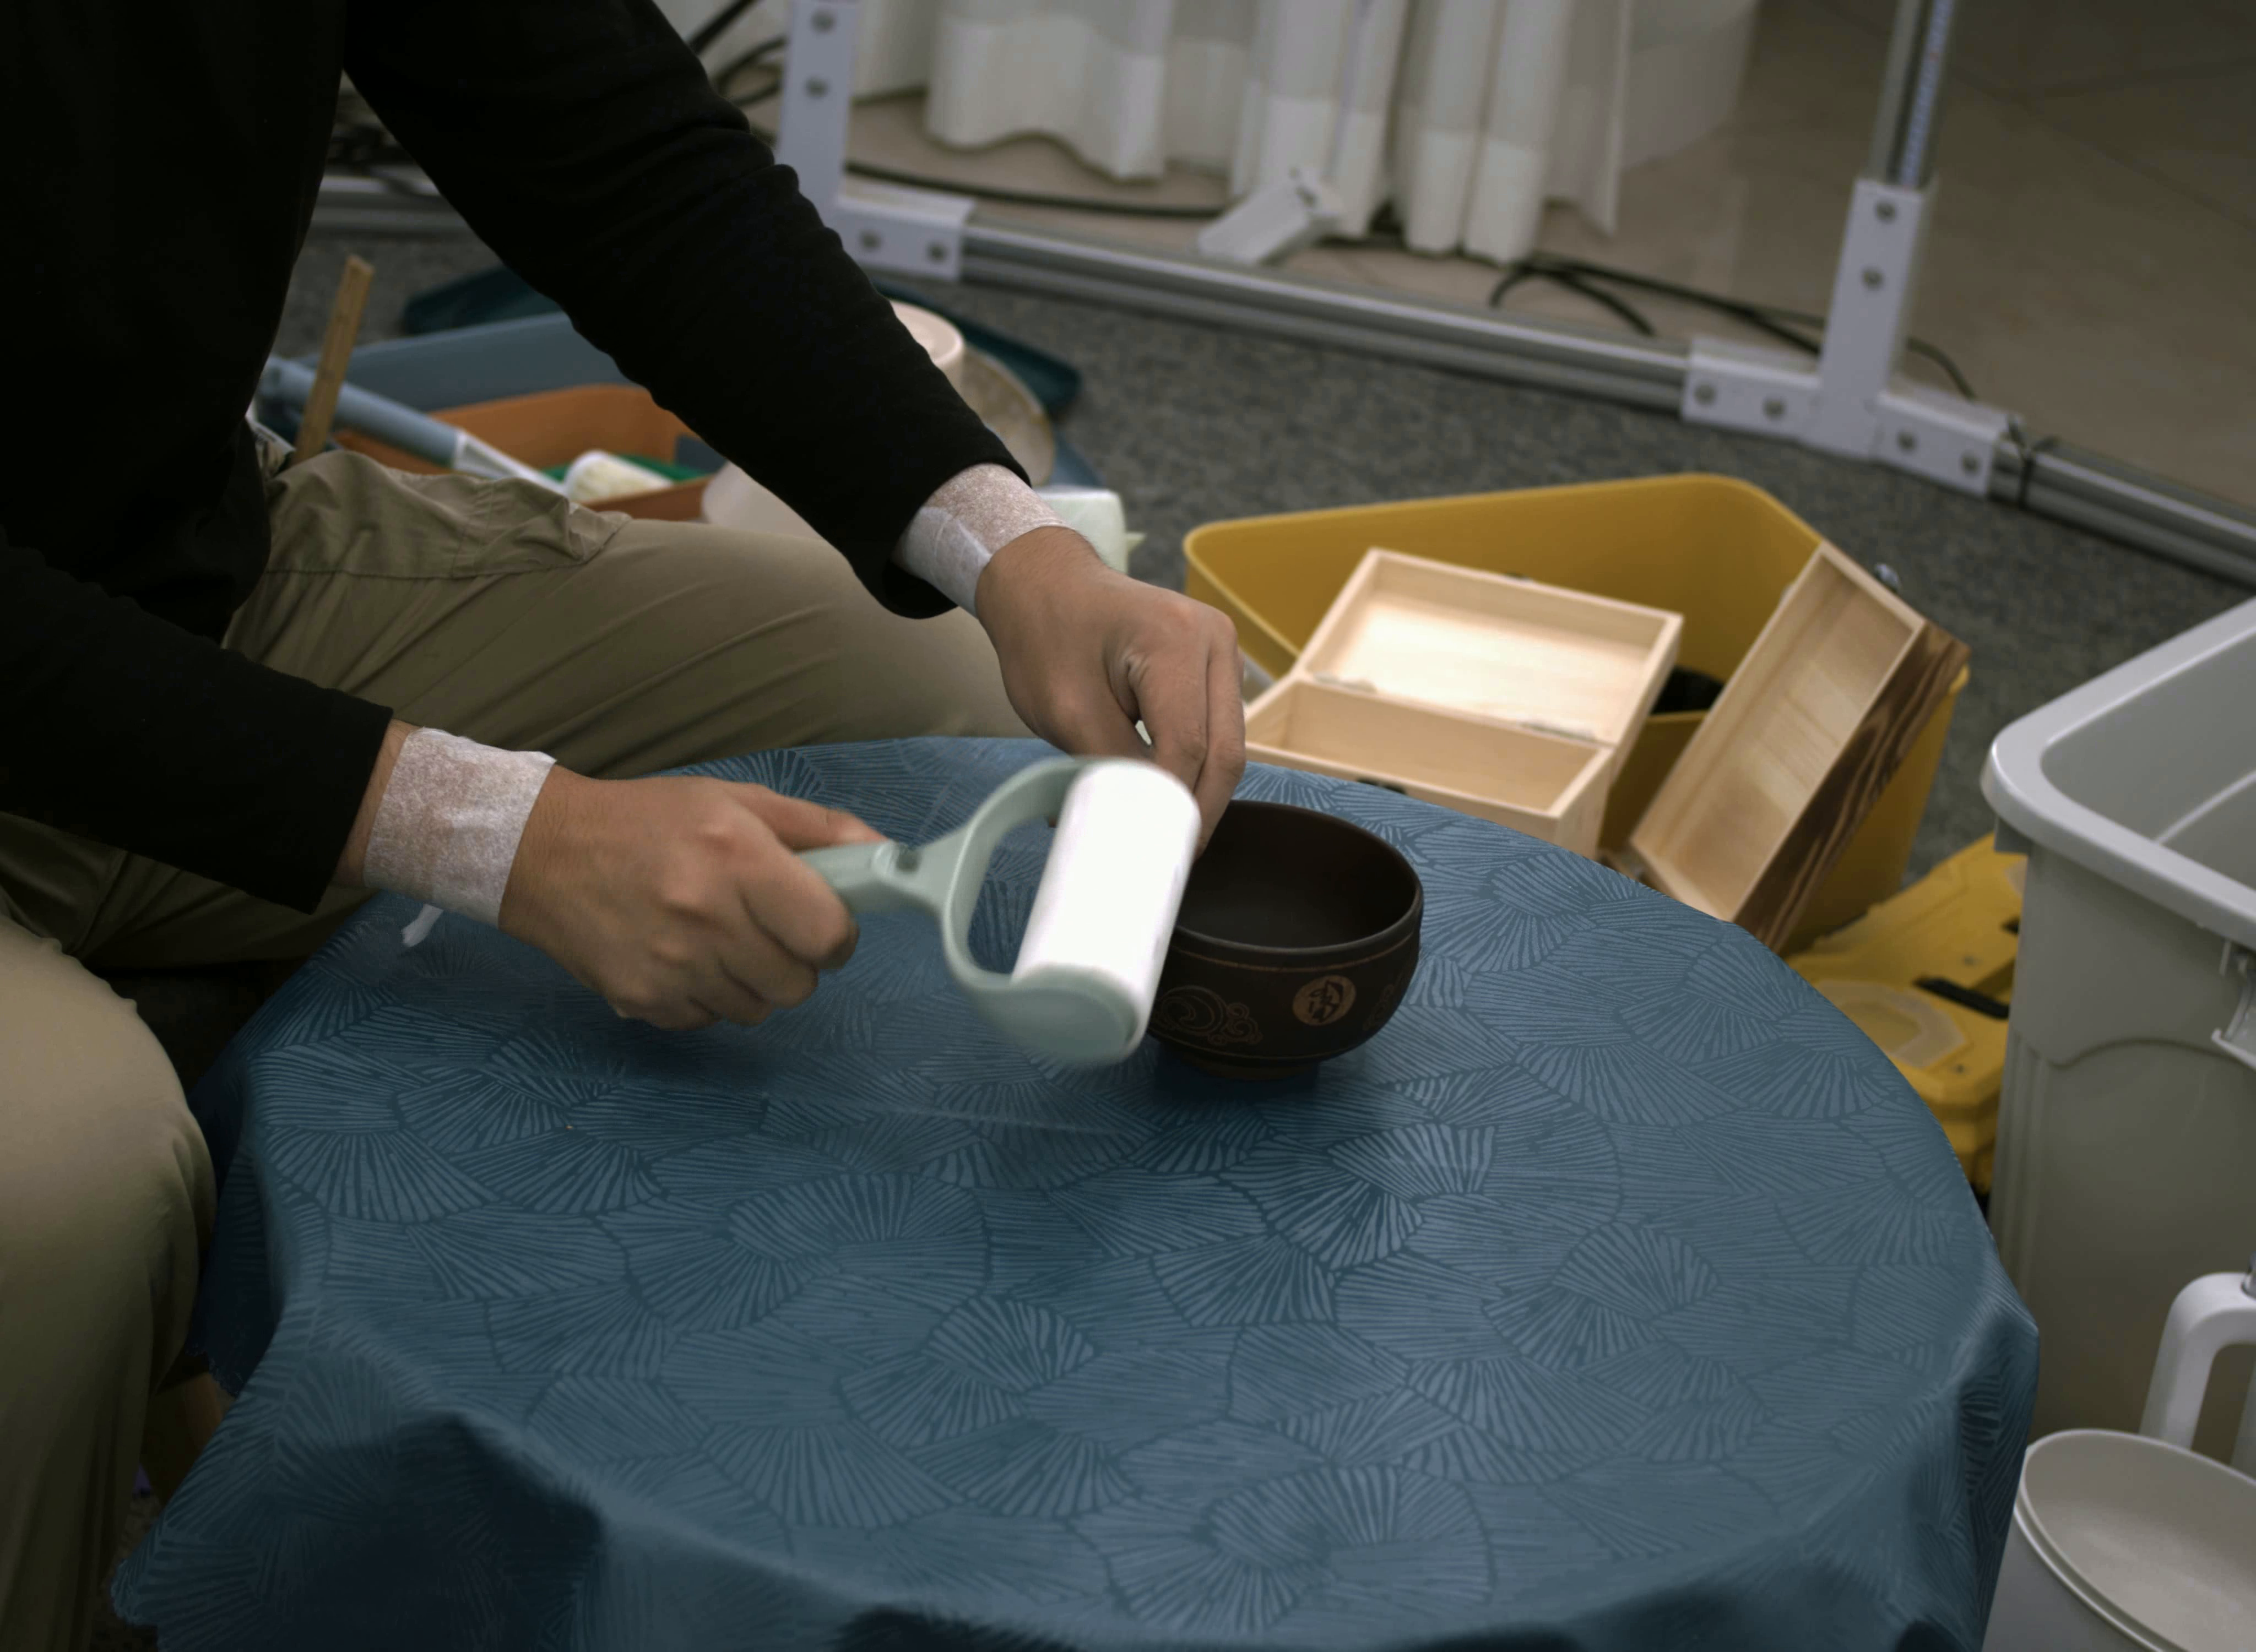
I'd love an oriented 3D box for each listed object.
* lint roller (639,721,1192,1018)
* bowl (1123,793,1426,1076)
[{"bbox_3d":[-0.077,0.018,1.839,0.197,0.048,0.117,-3,42,13],"label":"lint roller"},{"bbox_3d":[0.045,0.045,1.887,0.117,0.069,0.119,4,27,-3],"label":"bowl"}]
